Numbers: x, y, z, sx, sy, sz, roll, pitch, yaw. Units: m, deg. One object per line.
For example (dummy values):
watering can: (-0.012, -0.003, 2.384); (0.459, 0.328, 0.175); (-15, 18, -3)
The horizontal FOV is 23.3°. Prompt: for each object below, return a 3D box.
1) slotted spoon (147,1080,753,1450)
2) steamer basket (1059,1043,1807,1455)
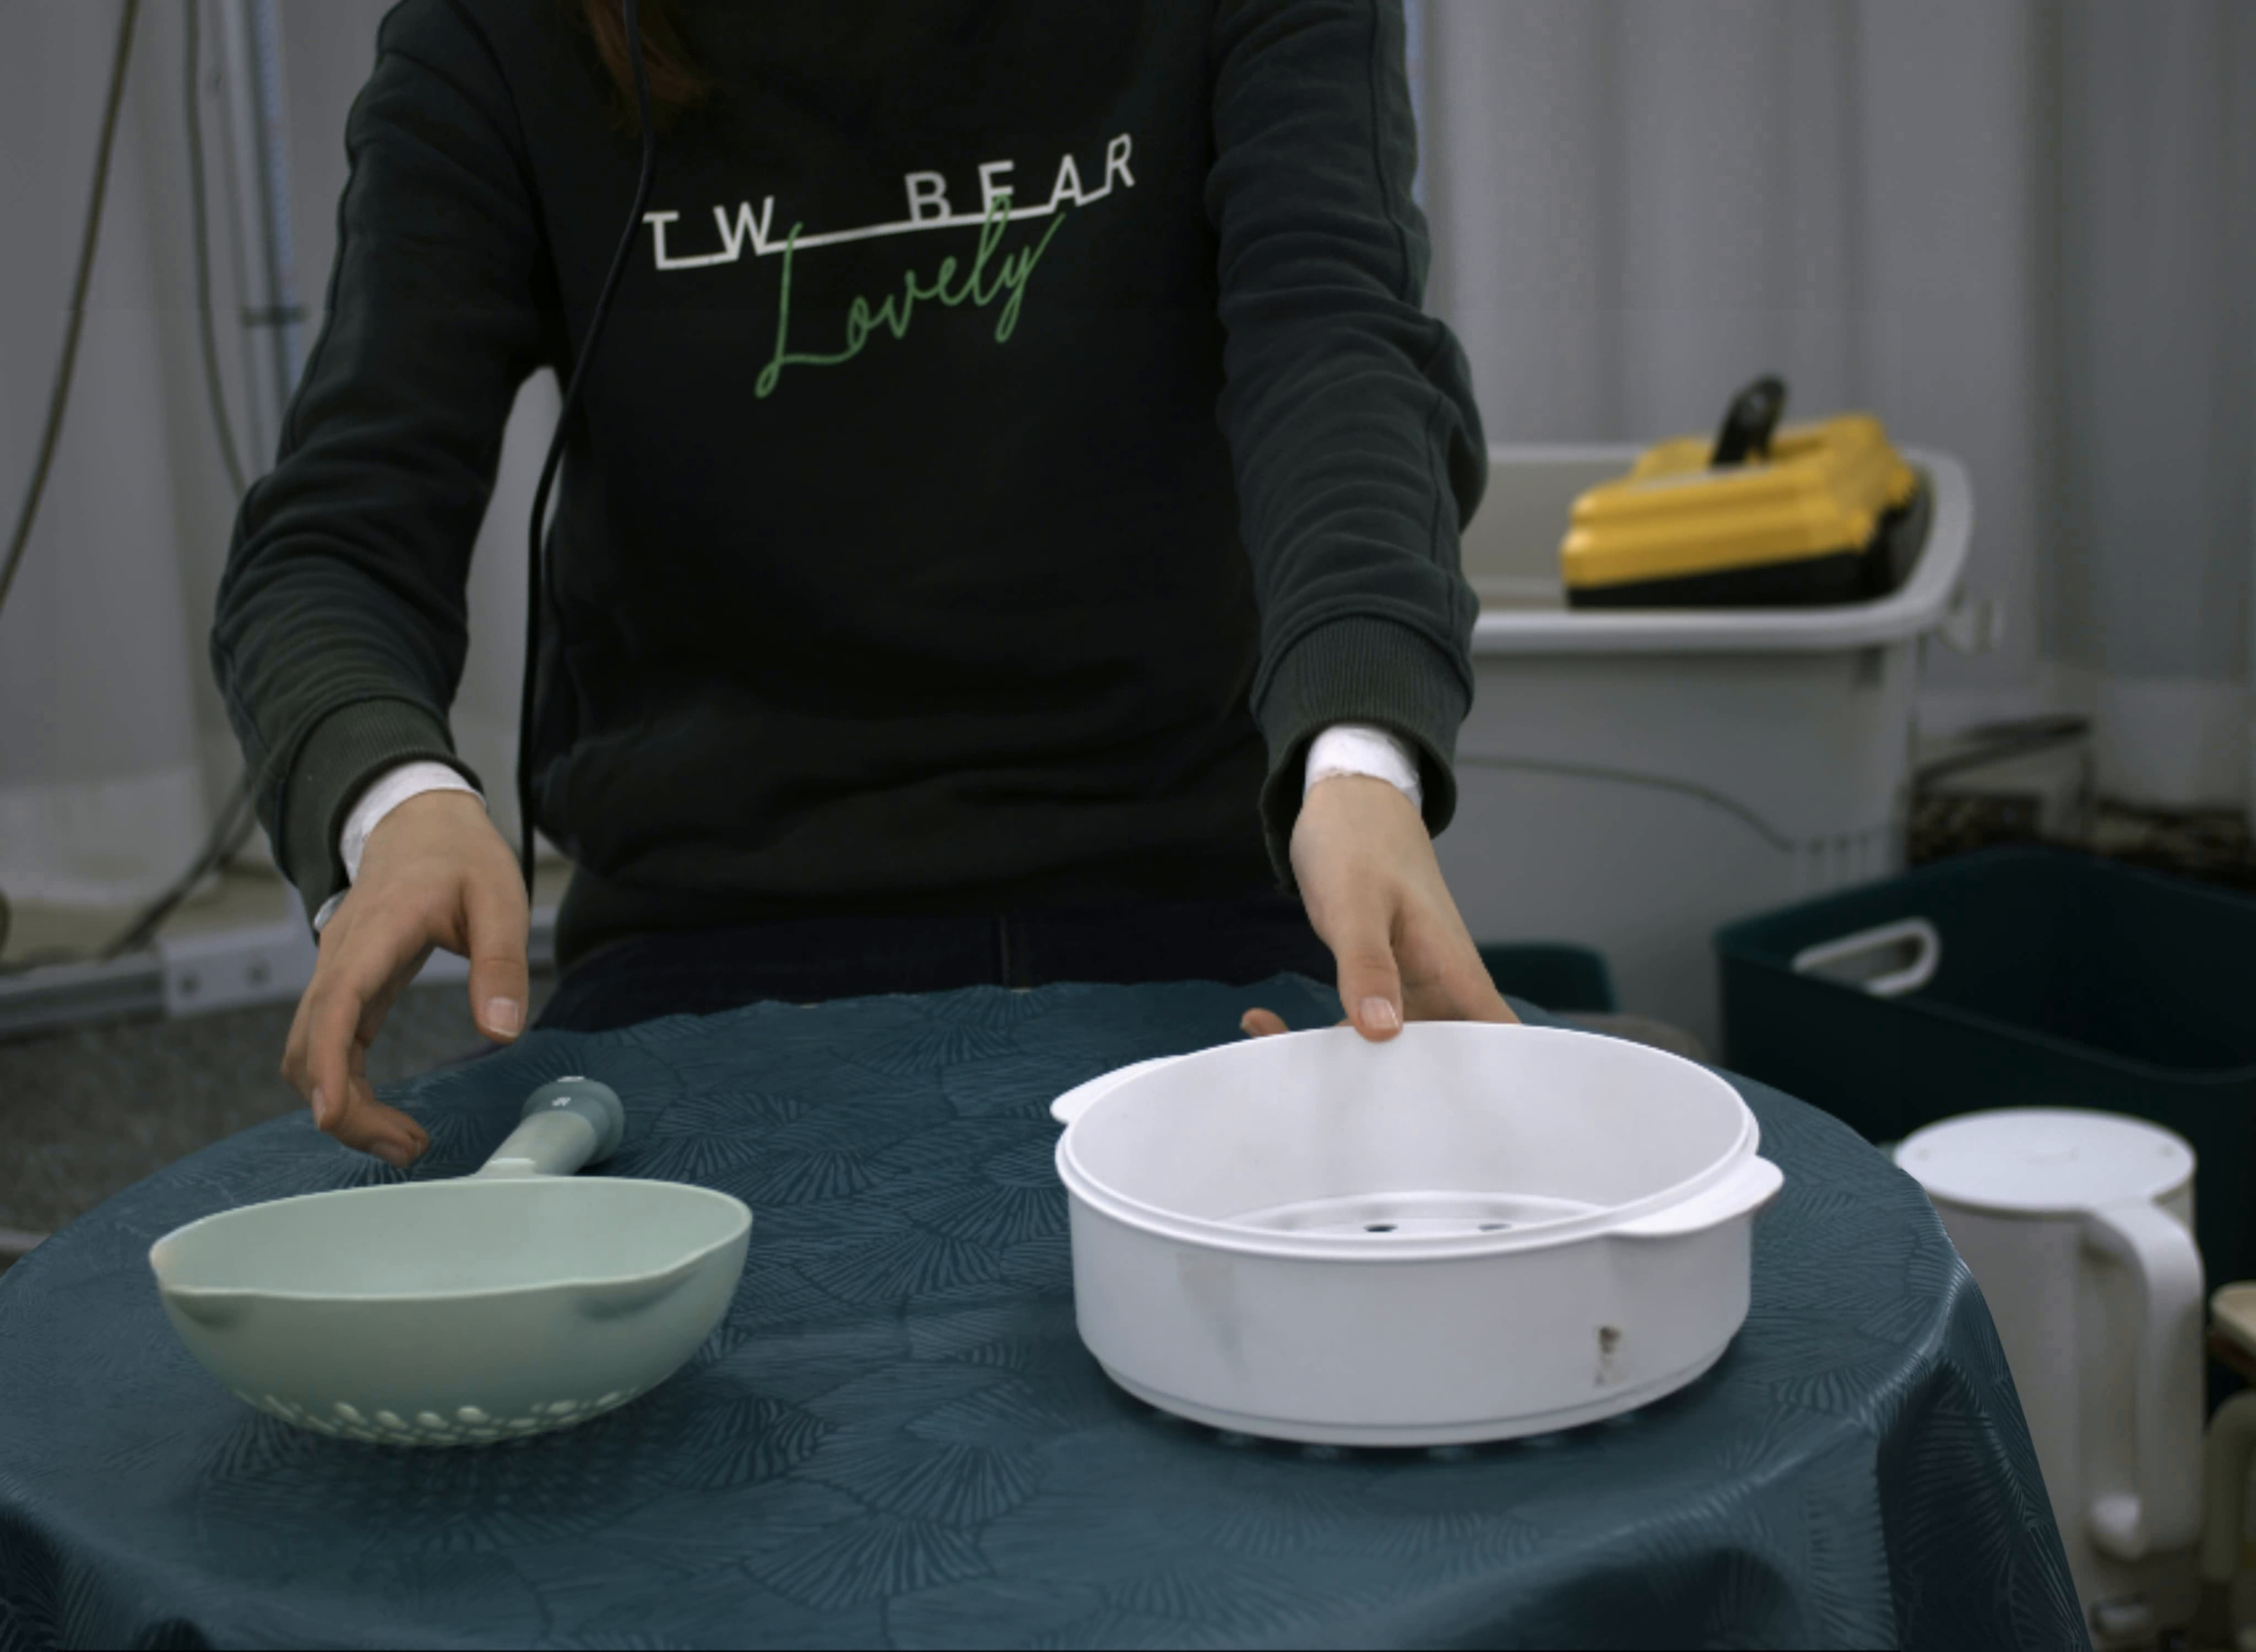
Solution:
slotted spoon: (-0.184, 0.114, 1.627); (0.169, 0.075, 0.361); (-2, 15, 3)
steamer basket: (0.084, 0.120, 1.558); (0.231, 0.069, 0.201); (8, 17, 36)
